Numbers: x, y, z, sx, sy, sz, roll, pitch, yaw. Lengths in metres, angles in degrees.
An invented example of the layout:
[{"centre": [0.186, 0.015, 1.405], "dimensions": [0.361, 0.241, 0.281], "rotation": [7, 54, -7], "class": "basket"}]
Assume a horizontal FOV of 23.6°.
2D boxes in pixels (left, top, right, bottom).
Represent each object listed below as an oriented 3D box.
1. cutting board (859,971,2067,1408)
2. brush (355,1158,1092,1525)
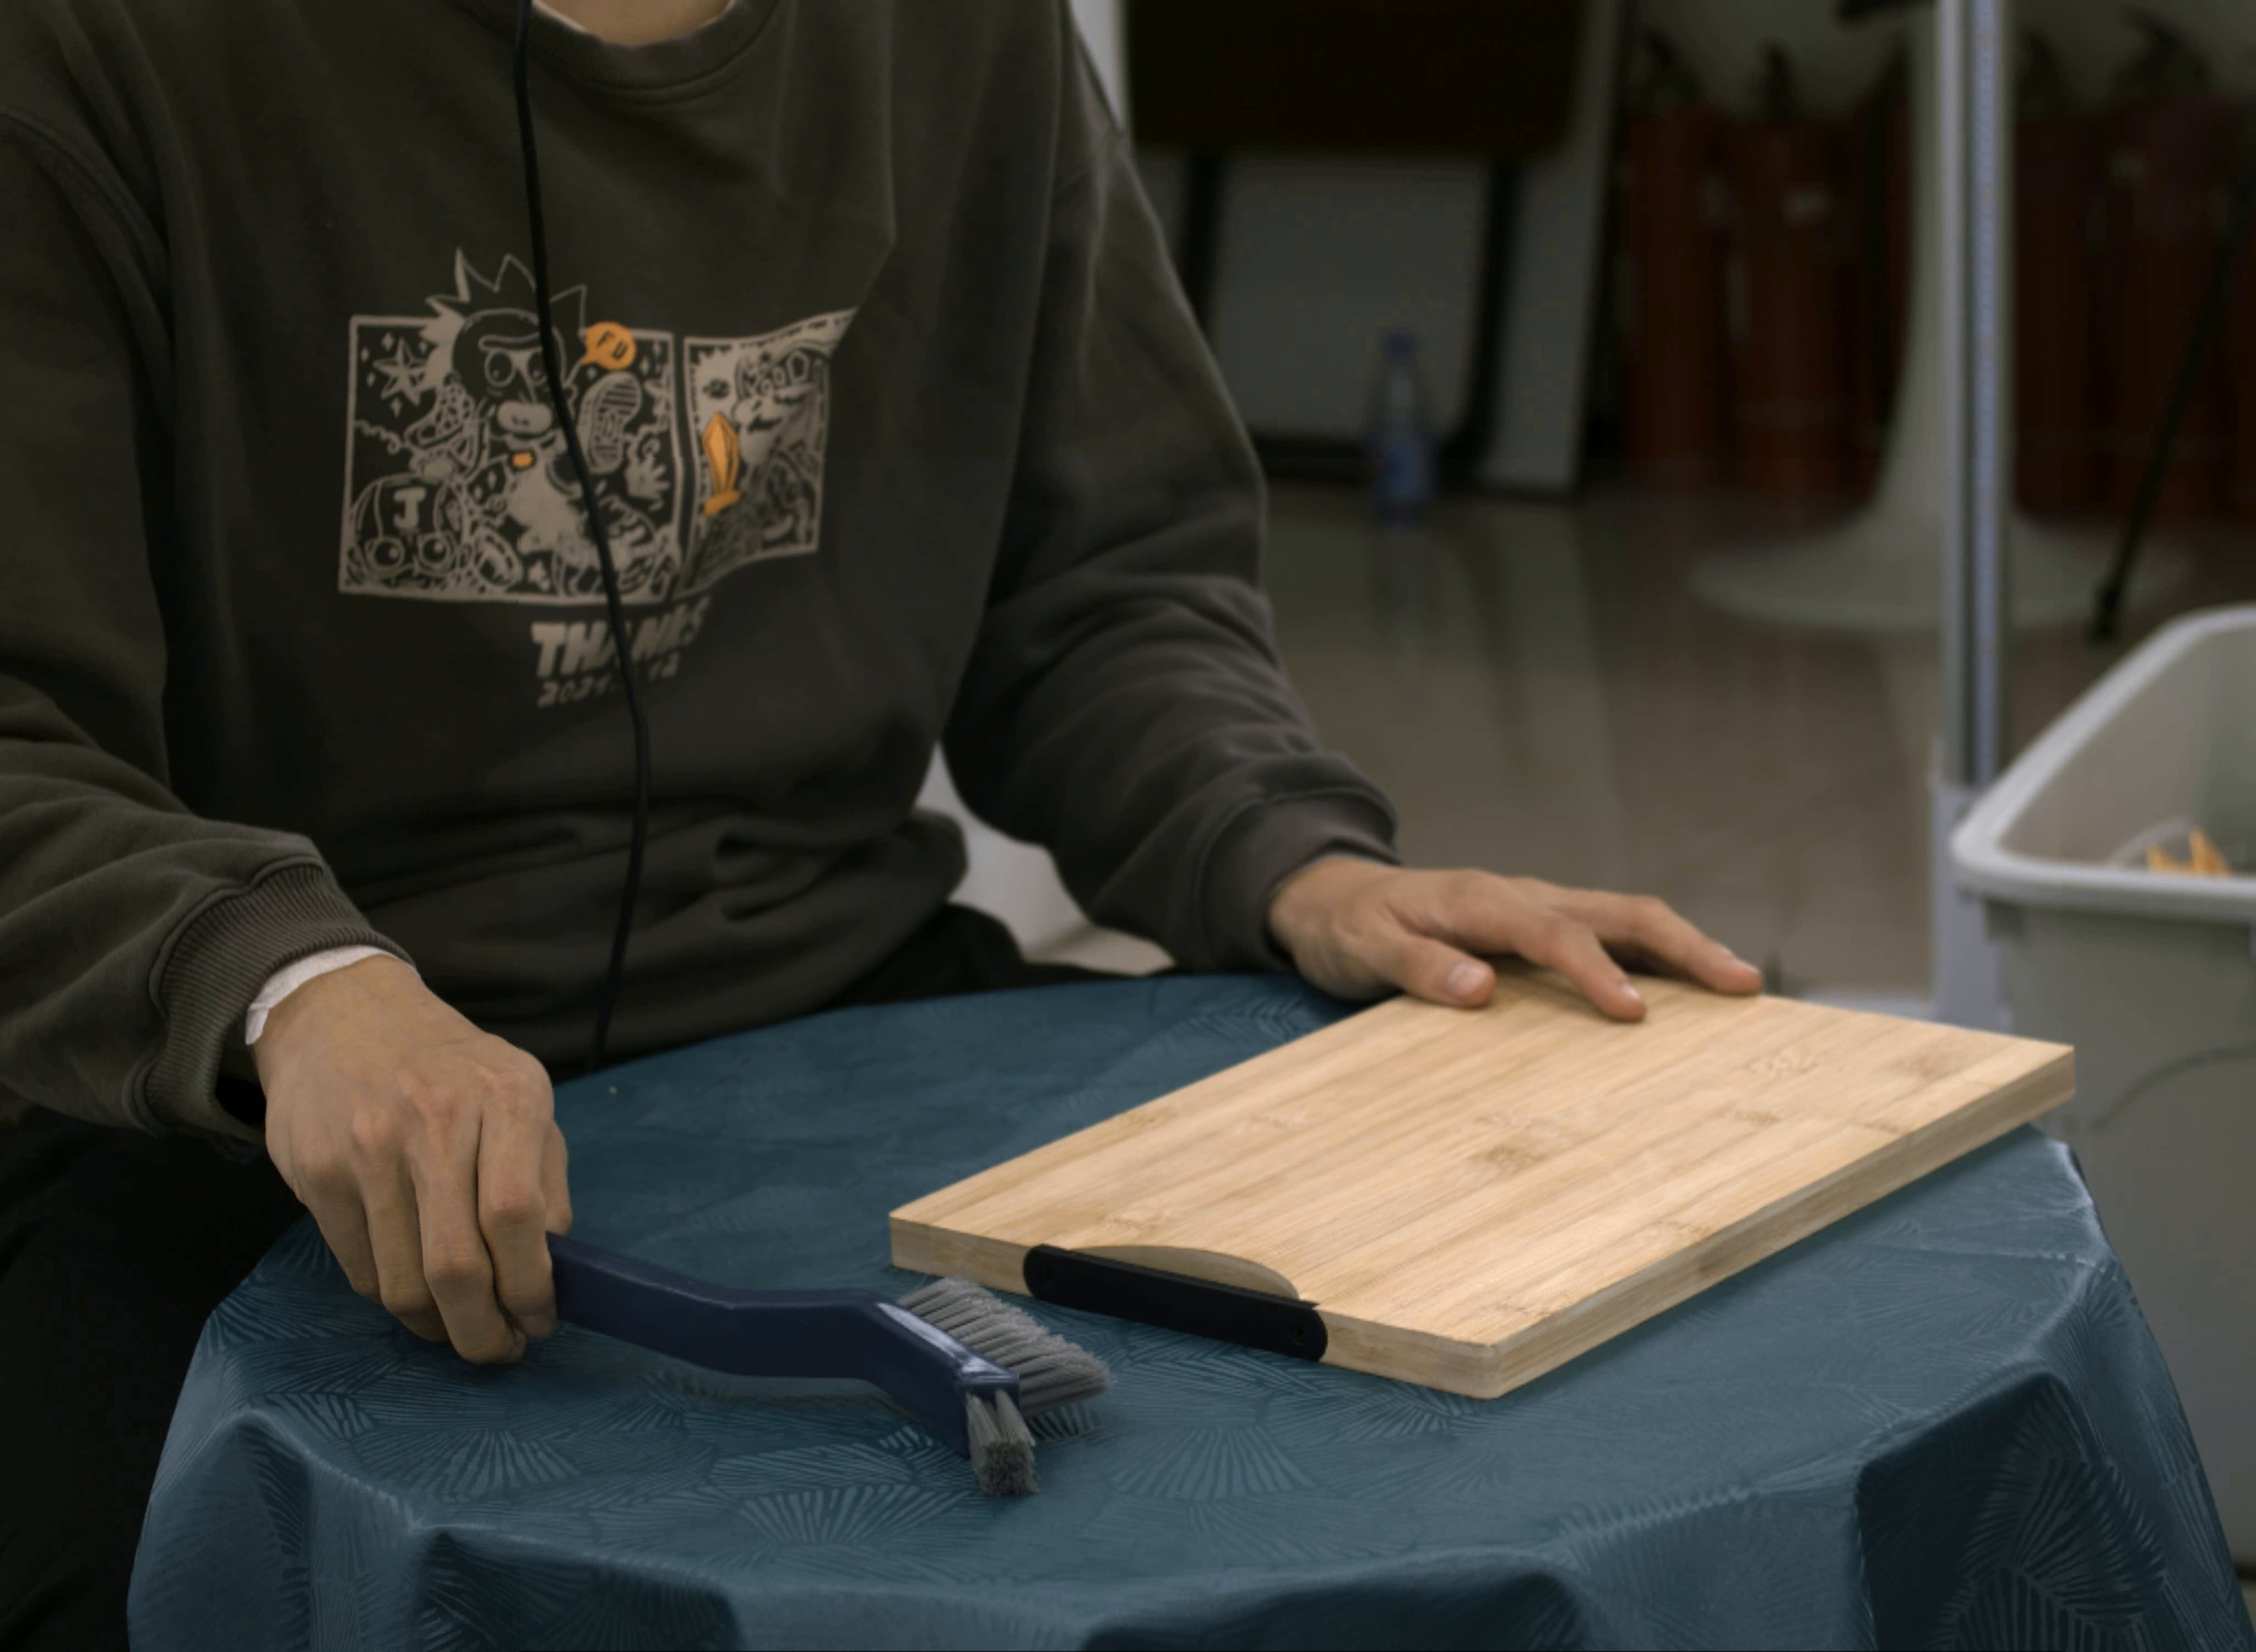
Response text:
[{"centre": [0.116, 0.112, 1.751], "dimensions": [0.252, 0.024, 0.342], "rotation": [6, 17, 39], "class": "cutting board"}, {"centre": [-0.134, 0.149, 1.602], "dimensions": [0.274, 0.034, 0.094], "rotation": [9, 27, 29], "class": "brush"}]
